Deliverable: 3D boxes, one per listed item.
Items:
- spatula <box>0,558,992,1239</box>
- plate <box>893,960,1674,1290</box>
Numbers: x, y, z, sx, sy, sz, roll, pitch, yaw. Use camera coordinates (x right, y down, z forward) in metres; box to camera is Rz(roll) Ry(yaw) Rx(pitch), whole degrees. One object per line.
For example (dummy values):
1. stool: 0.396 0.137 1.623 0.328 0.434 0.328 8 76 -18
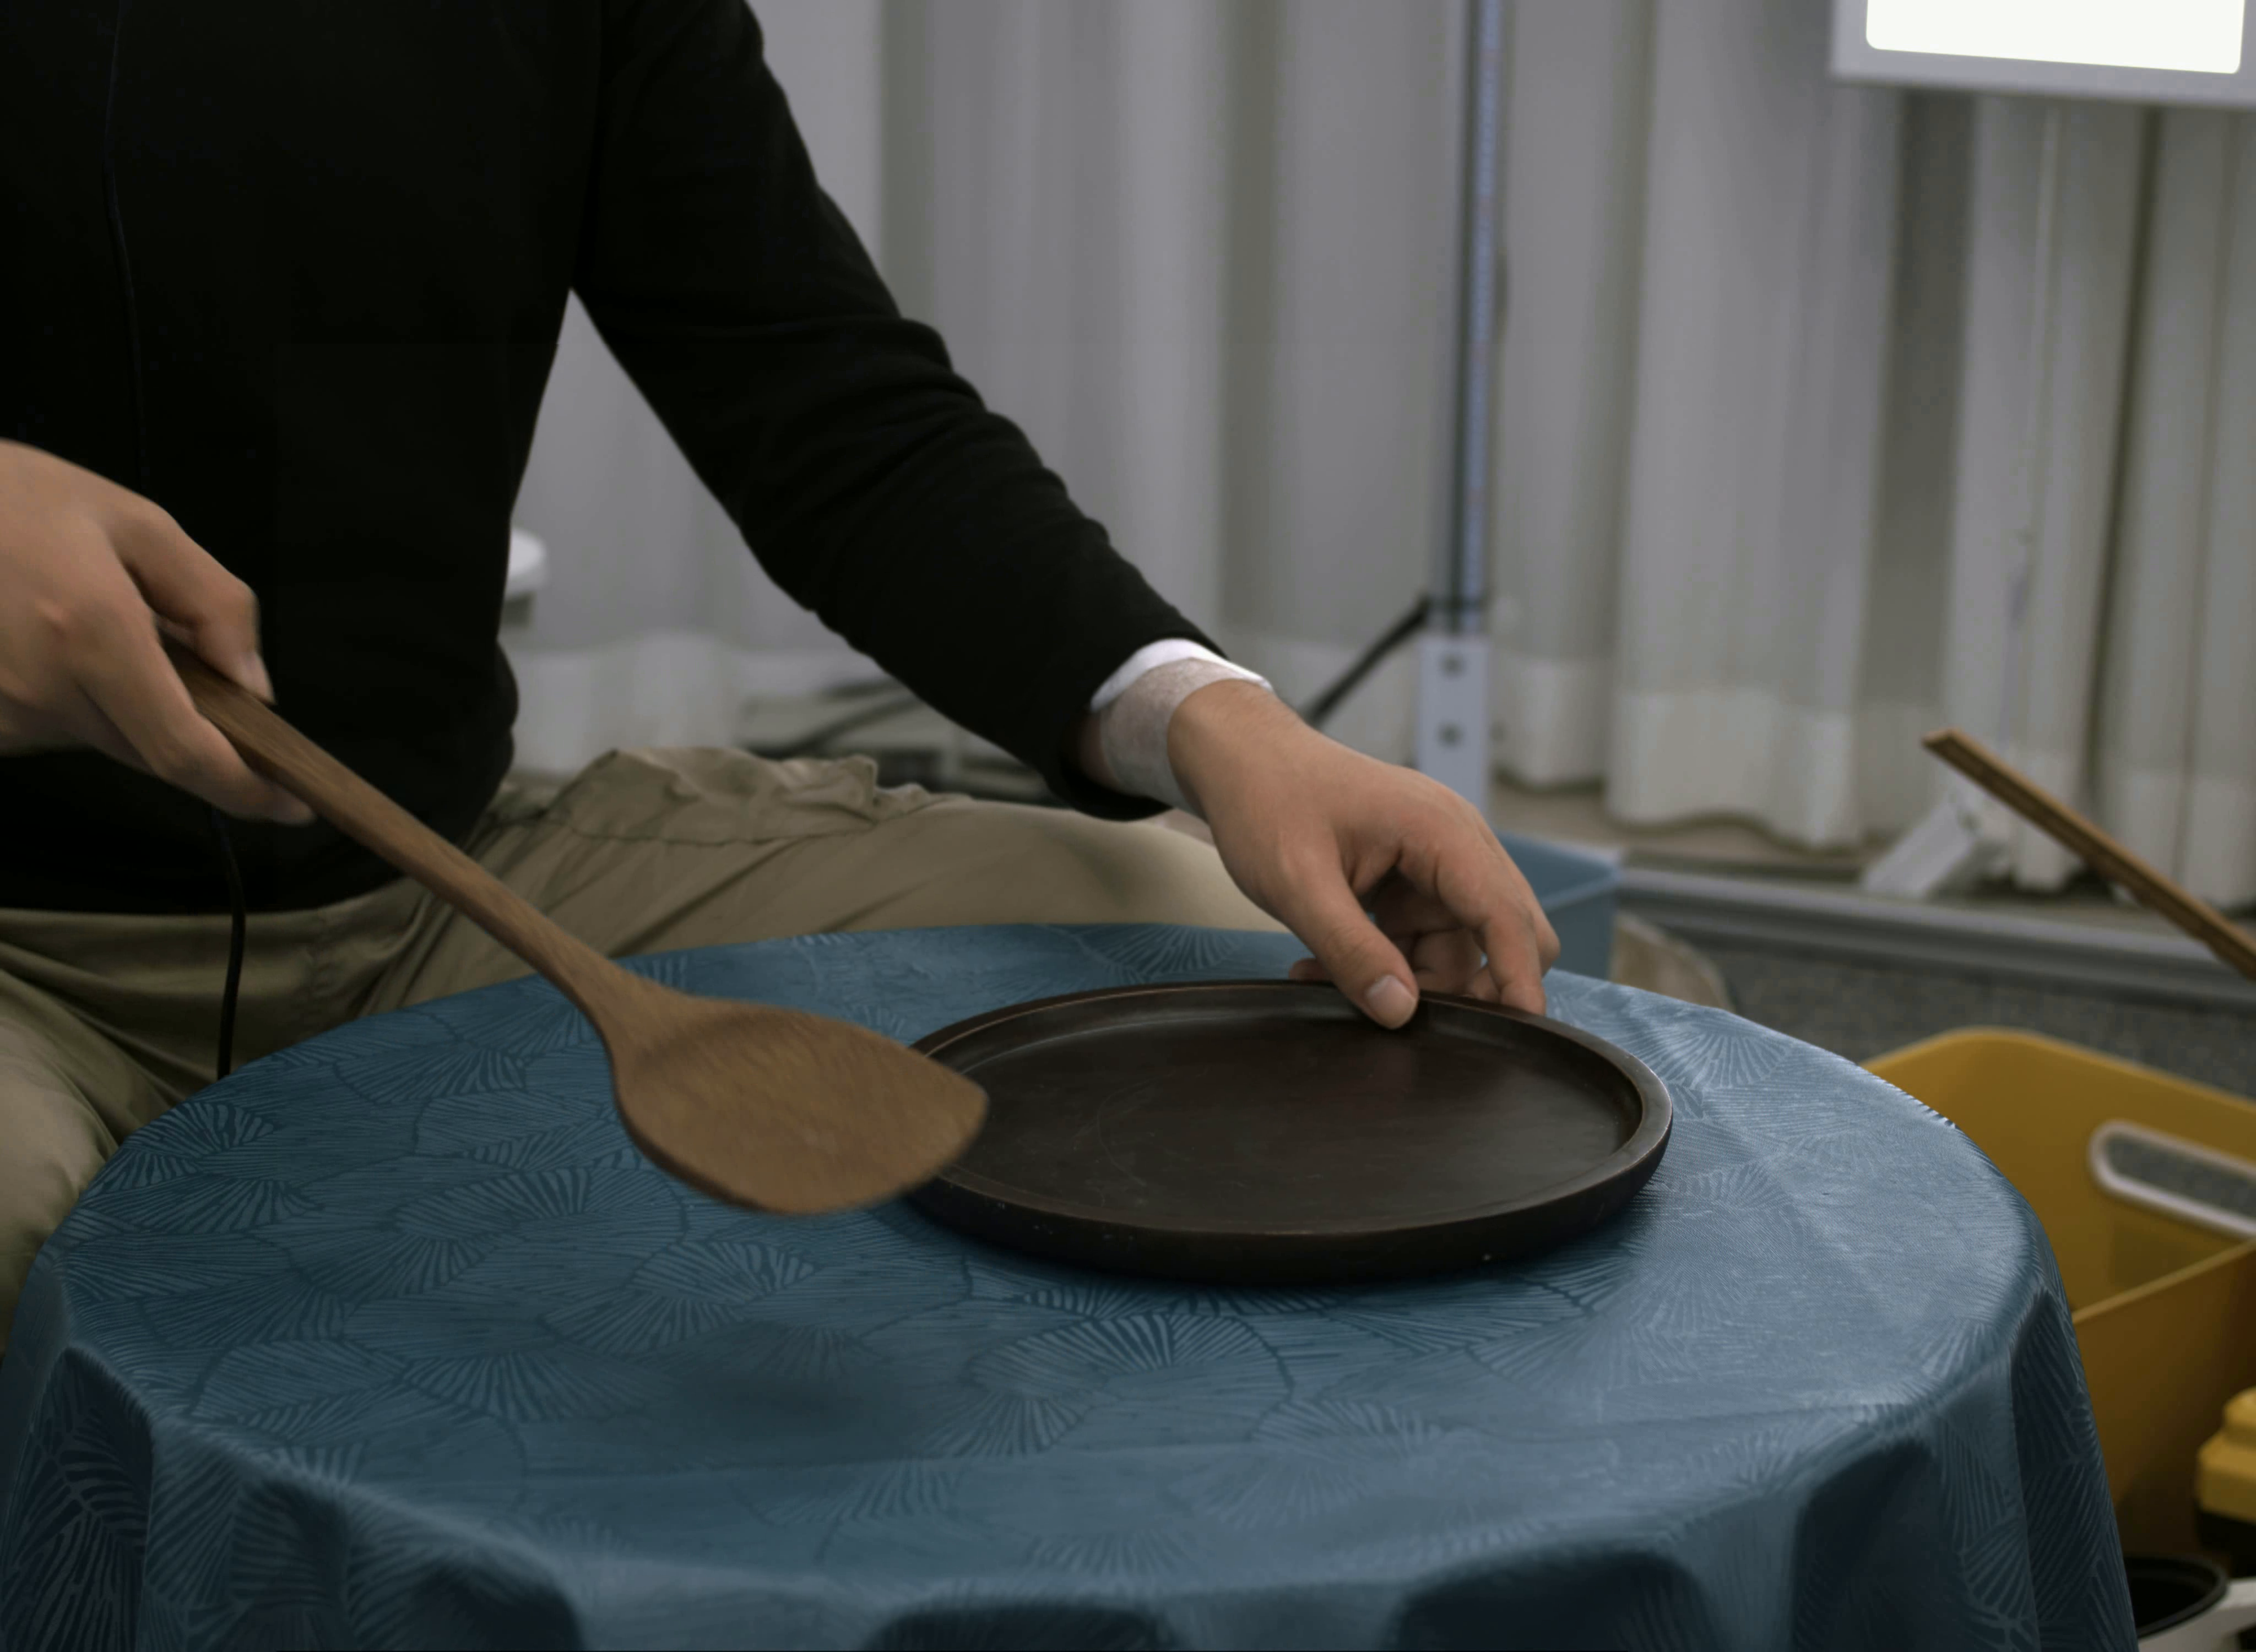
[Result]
1. spatula: -0.201 0.011 1.505 0.381 0.016 0.096 33 38 26
2. plate: 0.044 0.094 1.644 0.254 0.029 0.253 -1 16 1
